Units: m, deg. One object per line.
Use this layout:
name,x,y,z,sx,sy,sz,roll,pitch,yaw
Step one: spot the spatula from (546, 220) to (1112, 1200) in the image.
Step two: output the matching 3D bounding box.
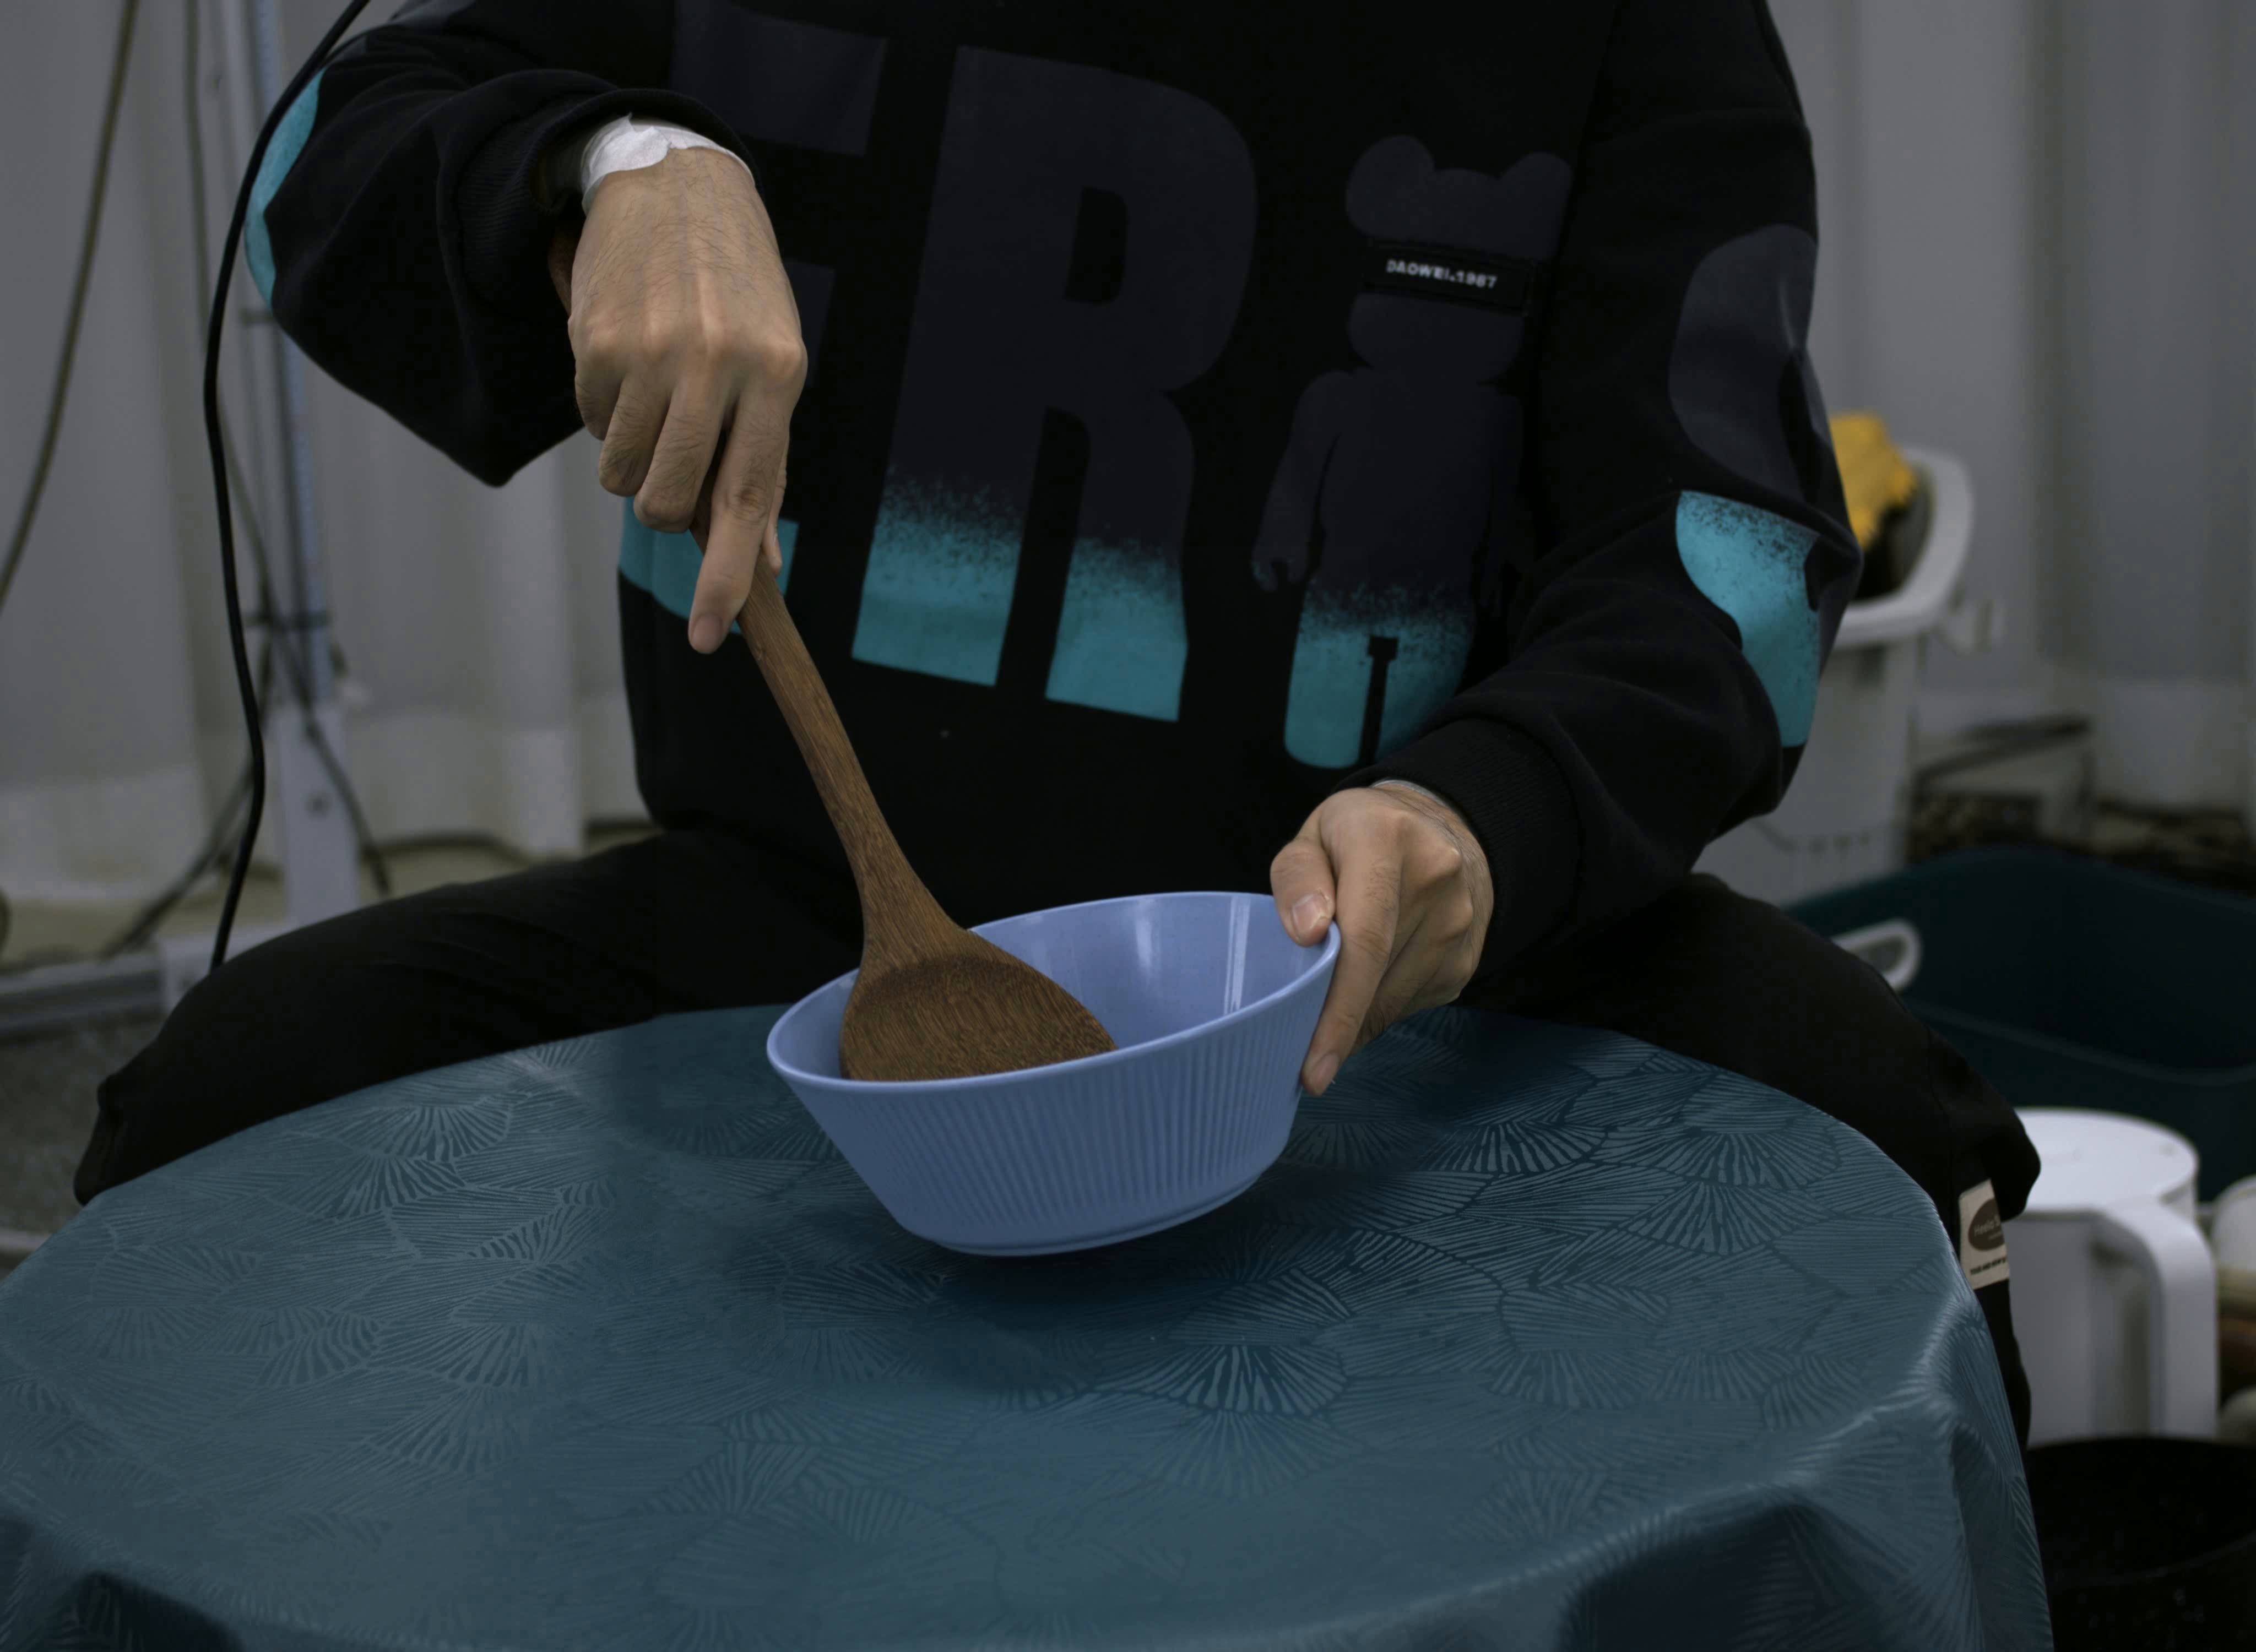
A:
spatula,-0.103,-0.043,1.718,0.096,0.015,0.391,-10,61,-32

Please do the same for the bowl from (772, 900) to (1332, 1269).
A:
bowl,-0.016,0.082,1.653,0.175,0.070,0.177,-14,12,3
